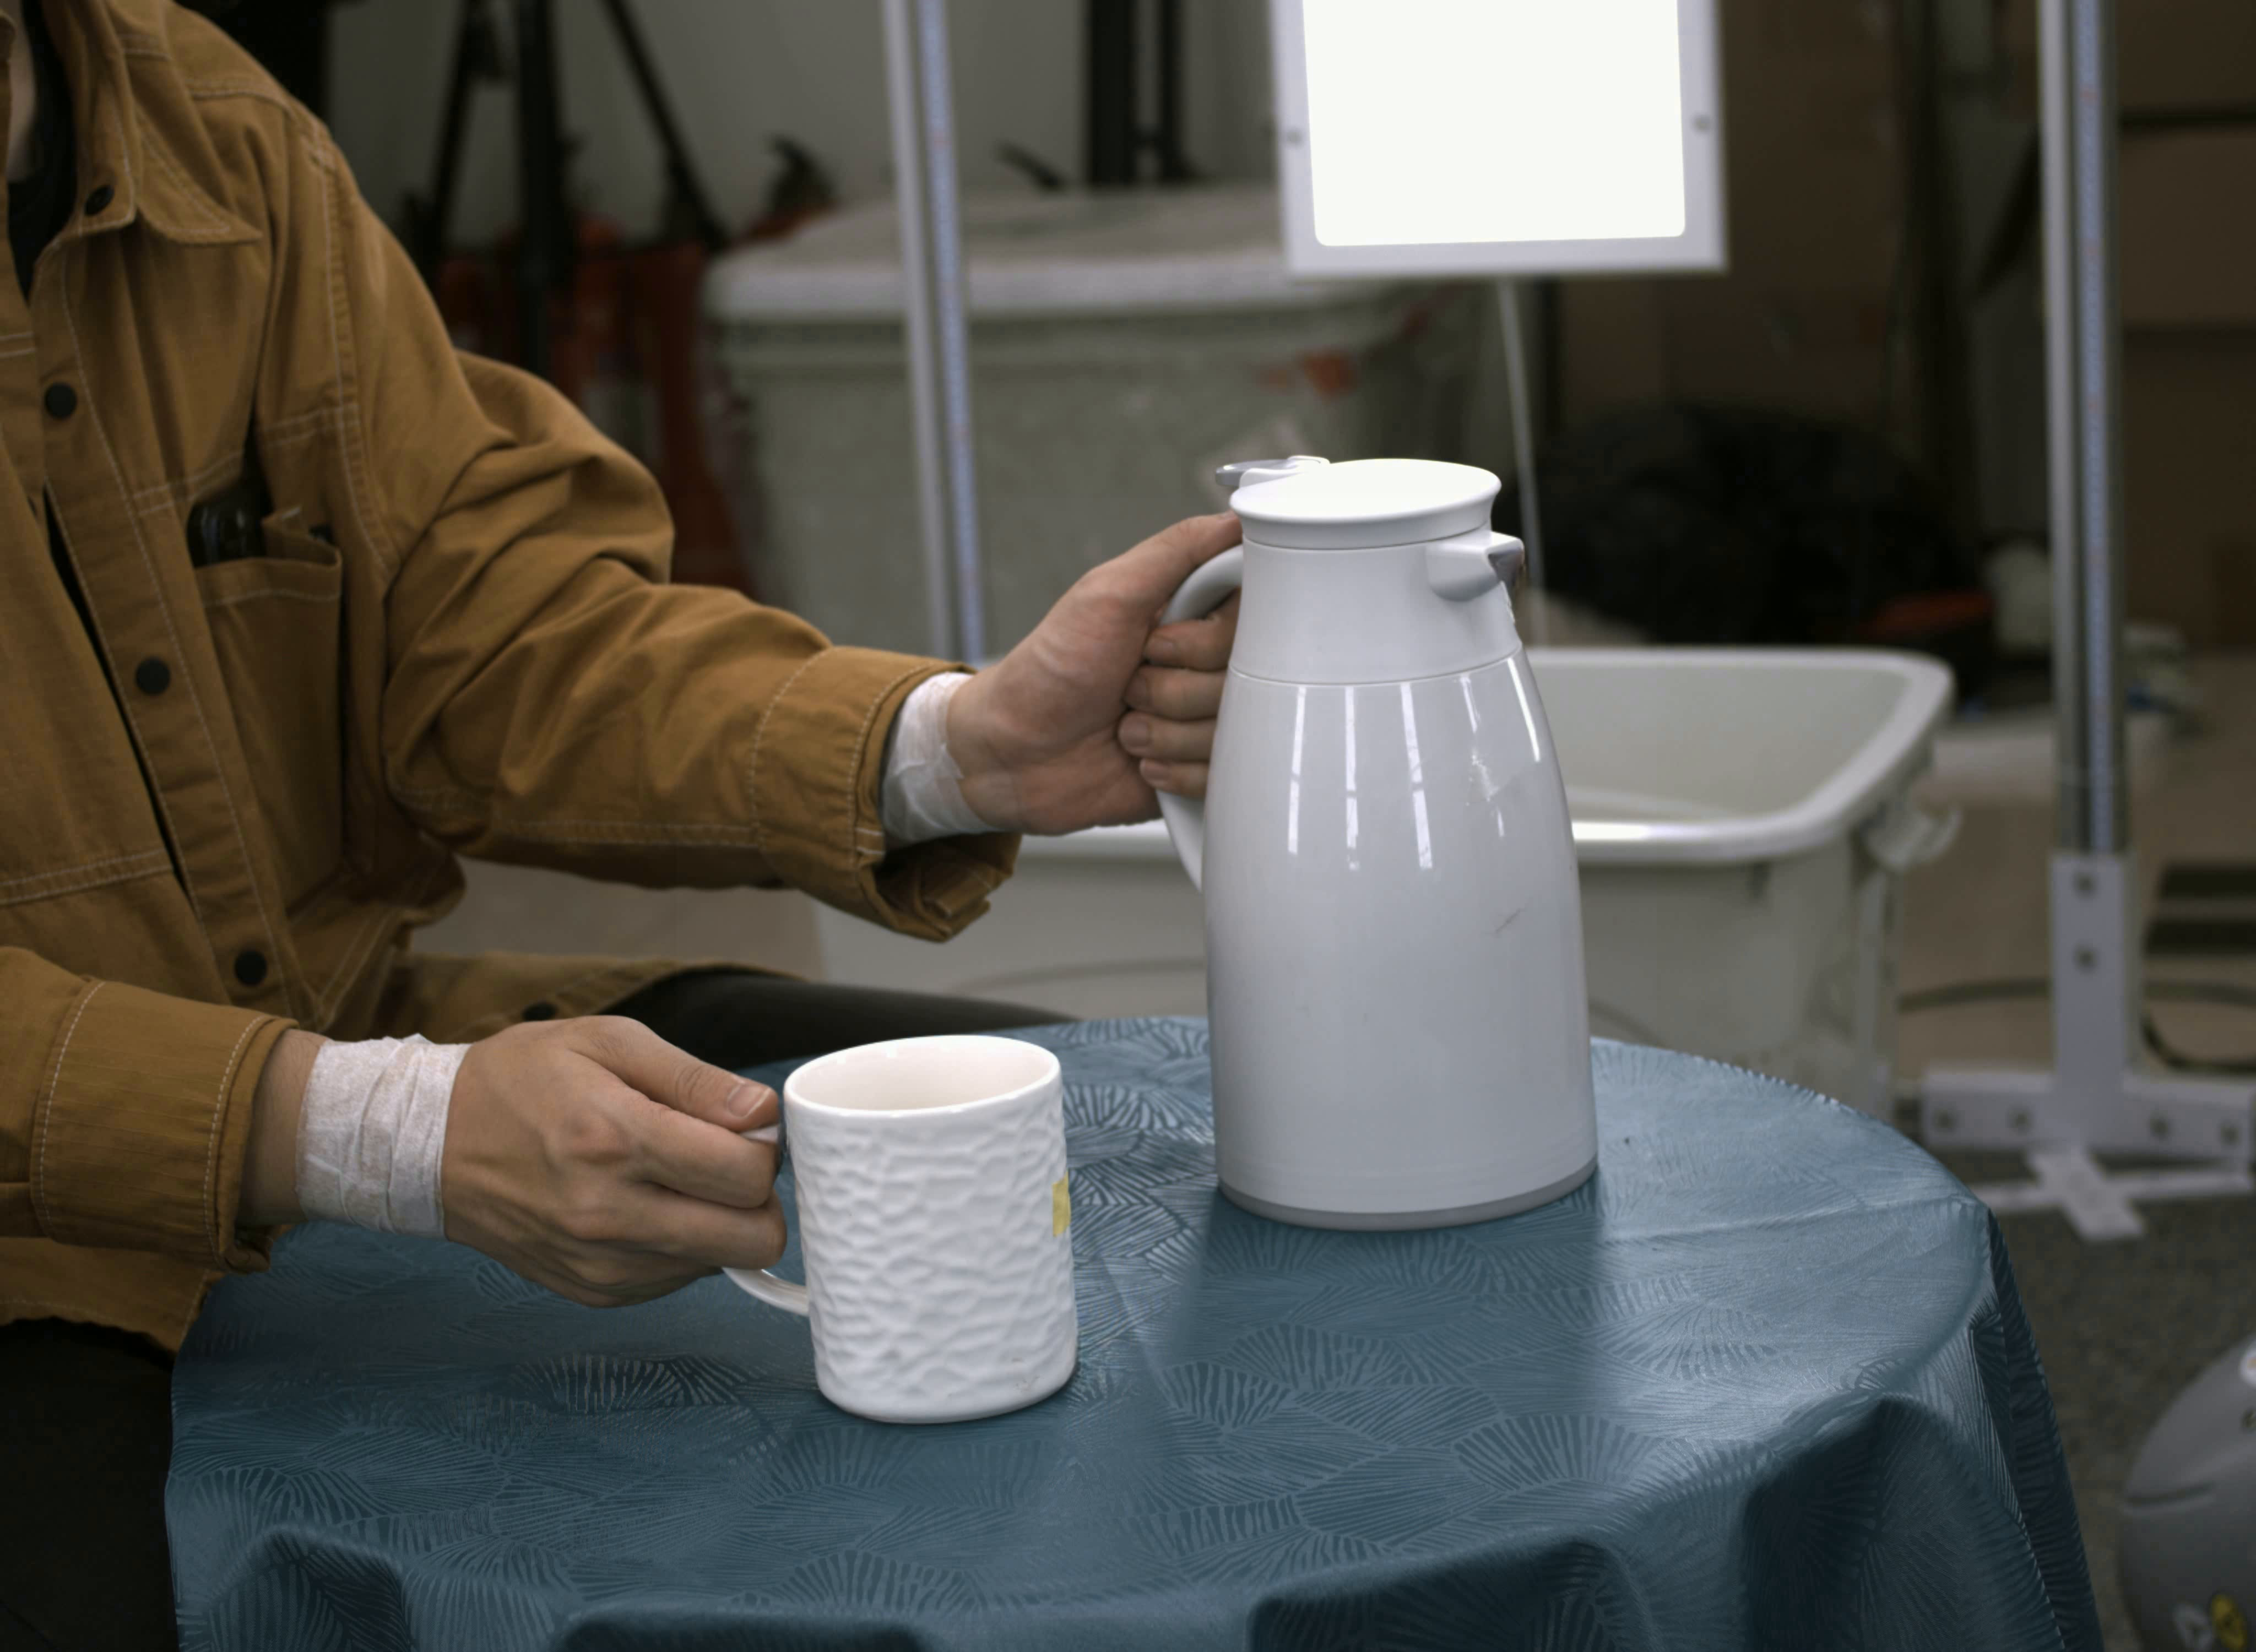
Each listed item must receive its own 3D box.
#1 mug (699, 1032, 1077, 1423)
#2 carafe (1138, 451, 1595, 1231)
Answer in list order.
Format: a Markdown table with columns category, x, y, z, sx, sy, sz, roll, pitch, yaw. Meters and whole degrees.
| category | x | y | z | sx | sy | sz | roll | pitch | yaw |
| --- | --- | --- | --- | --- | --- | --- | --- | --- | --- |
| mug | -0.076 | 0.125 | 1.717 | 0.119 | 0.102 | 0.083 | 0 | 15 | 17 |
| carafe | 0.072 | -0.003 | 1.876 | 0.171 | 0.249 | 0.129 | 9 | 20 | 44 |
